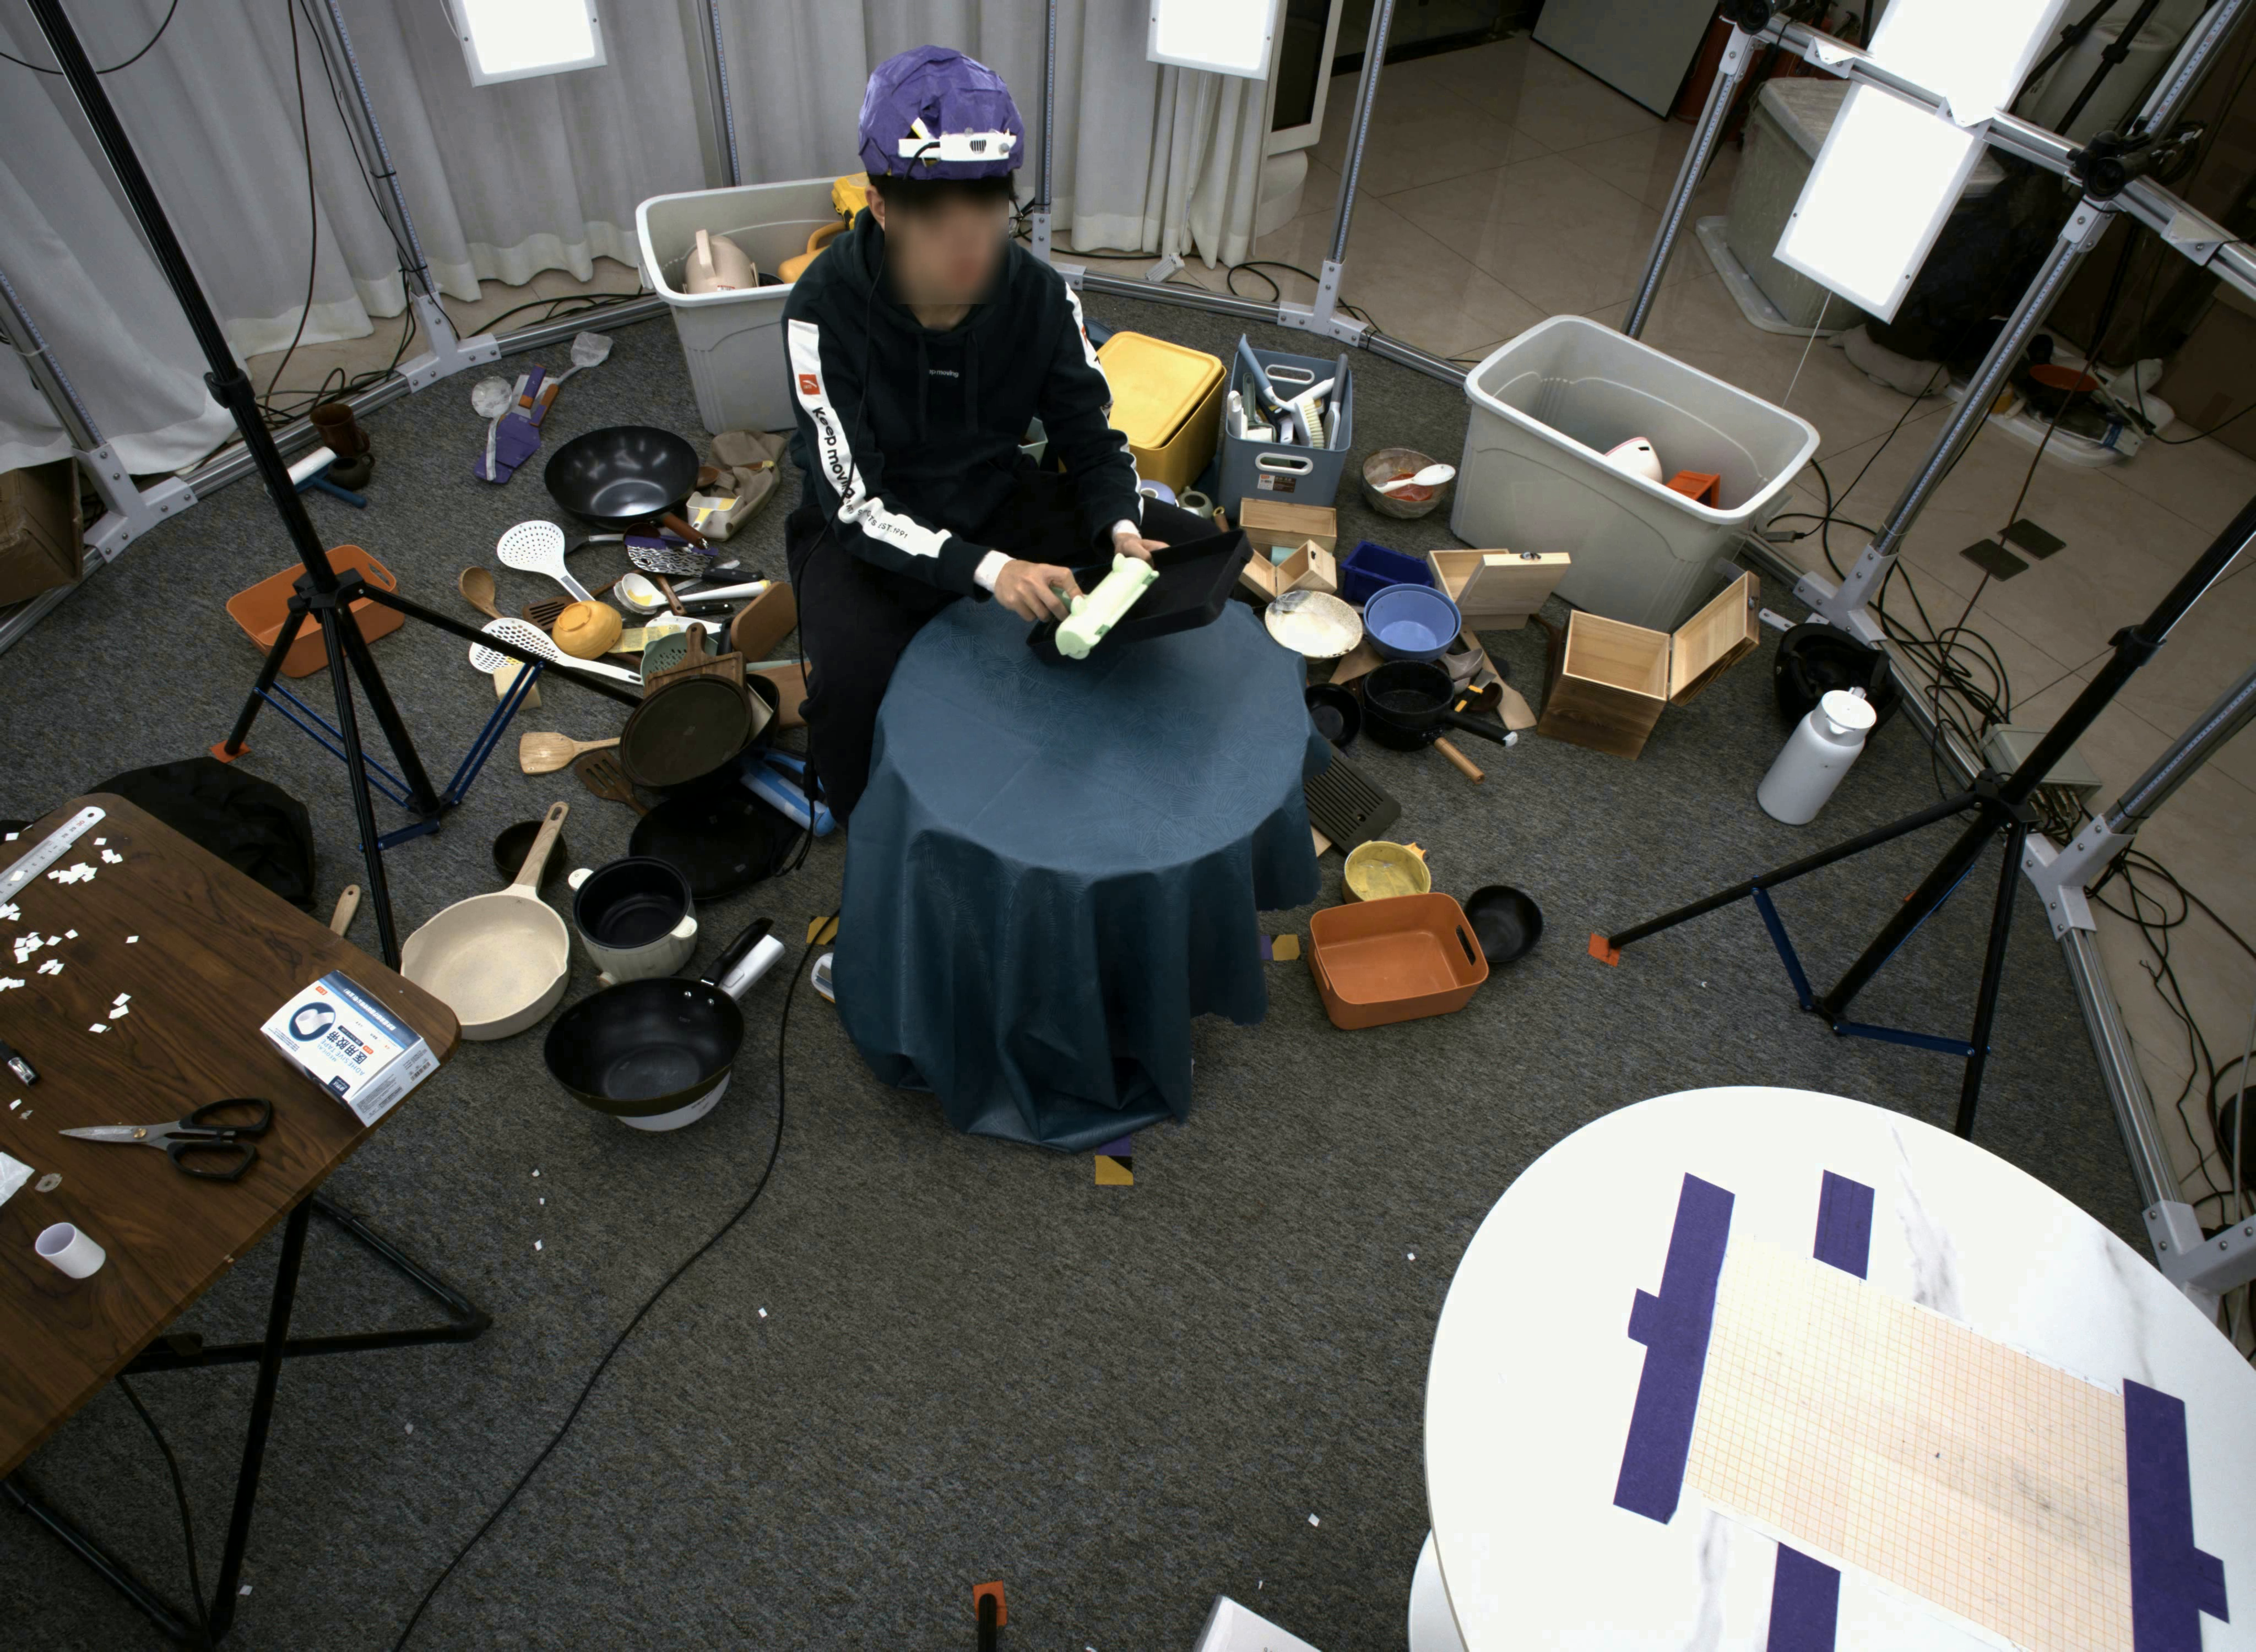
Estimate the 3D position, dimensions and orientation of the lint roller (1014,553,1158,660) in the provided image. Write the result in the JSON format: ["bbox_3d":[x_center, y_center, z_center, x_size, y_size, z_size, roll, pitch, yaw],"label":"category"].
[{"bbox_3d":[-0.080,-0.320,1.762,0.185,0.080,0.202,19,47,22],"label":"lint roller"}]

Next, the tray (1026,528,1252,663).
[{"bbox_3d":[0.013,-0.323,1.814,0.318,0.036,0.188,-7,40,37],"label":"tray"}]
